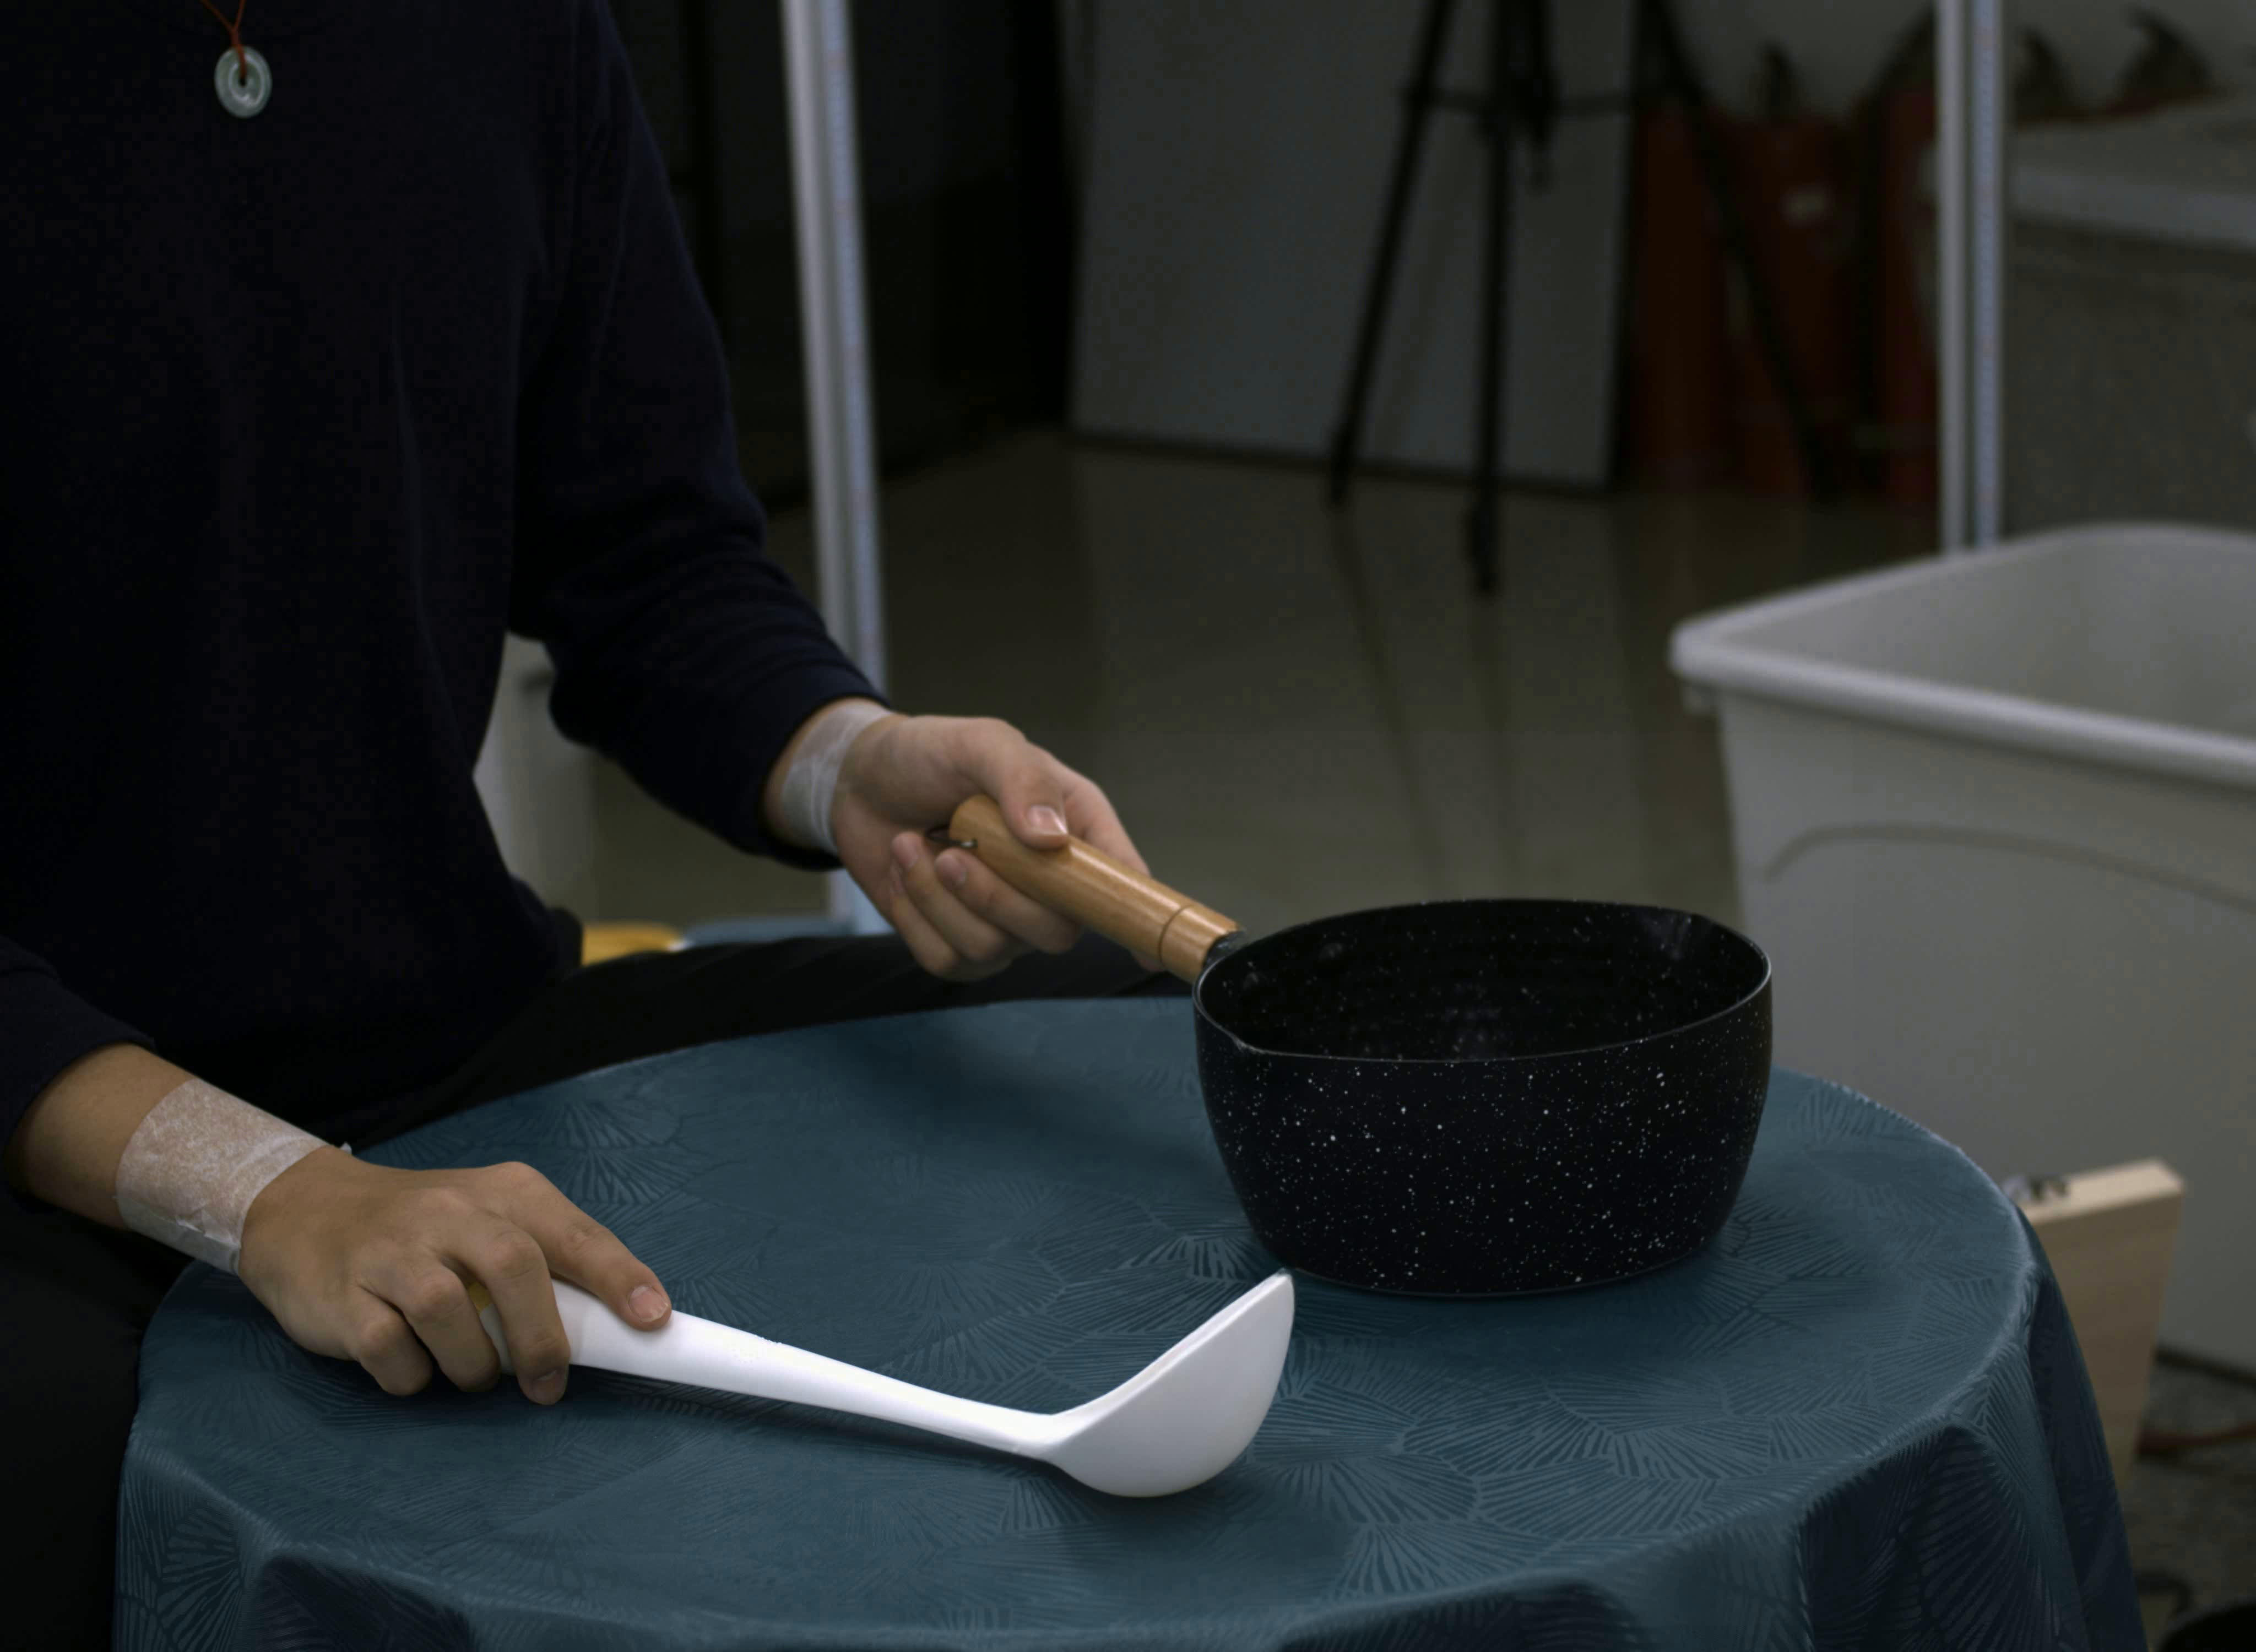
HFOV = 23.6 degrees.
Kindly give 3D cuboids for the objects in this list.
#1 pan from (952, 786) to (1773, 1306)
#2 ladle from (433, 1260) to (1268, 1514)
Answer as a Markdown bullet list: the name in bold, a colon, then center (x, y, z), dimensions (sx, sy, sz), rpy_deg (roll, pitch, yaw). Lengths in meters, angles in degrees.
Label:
- **pan**: center (0.059, 0.064, 1.757), dimensions (0.203, 0.109, 0.346), rpy_deg (-17, 19, -40)
- **ladle**: center (-0.086, 0.149, 1.552), dimensions (0.295, 0.070, 0.089), rpy_deg (6, 32, 35)
